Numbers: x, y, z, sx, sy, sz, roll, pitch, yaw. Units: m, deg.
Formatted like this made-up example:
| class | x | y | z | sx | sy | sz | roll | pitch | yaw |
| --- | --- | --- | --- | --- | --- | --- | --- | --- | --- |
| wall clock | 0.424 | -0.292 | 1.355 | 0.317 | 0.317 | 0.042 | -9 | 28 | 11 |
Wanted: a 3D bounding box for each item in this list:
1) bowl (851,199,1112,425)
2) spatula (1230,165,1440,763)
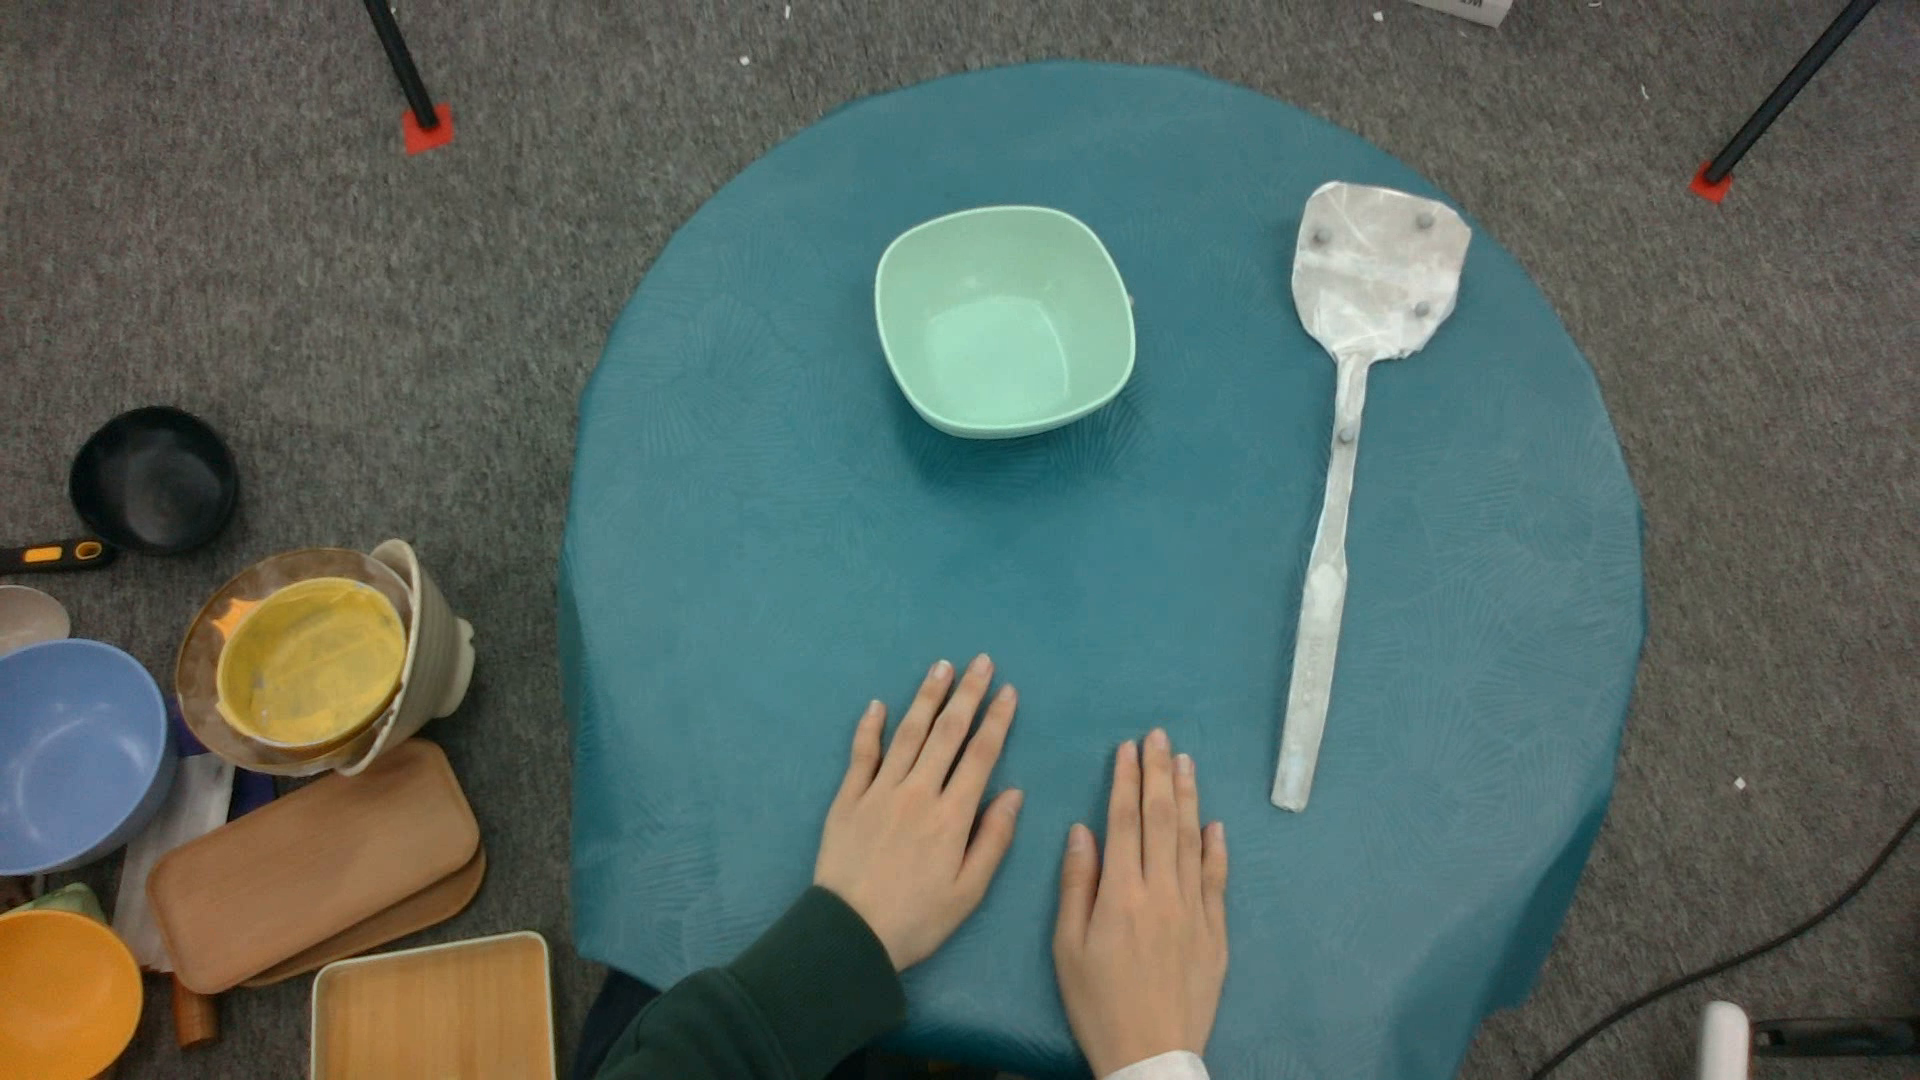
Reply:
| class | x | y | z | sx | sy | sz | roll | pitch | yaw |
| --- | --- | --- | --- | --- | --- | --- | --- | --- | --- |
| bowl | 0.010 | -0.117 | 0.771 | 0.151 | 0.058 | 0.152 | 2 | 64 | -4 |
| spatula | 0.197 | -0.050 | 0.766 | 0.099 | 0.044 | 0.366 | 16 | 66 | 0 |
